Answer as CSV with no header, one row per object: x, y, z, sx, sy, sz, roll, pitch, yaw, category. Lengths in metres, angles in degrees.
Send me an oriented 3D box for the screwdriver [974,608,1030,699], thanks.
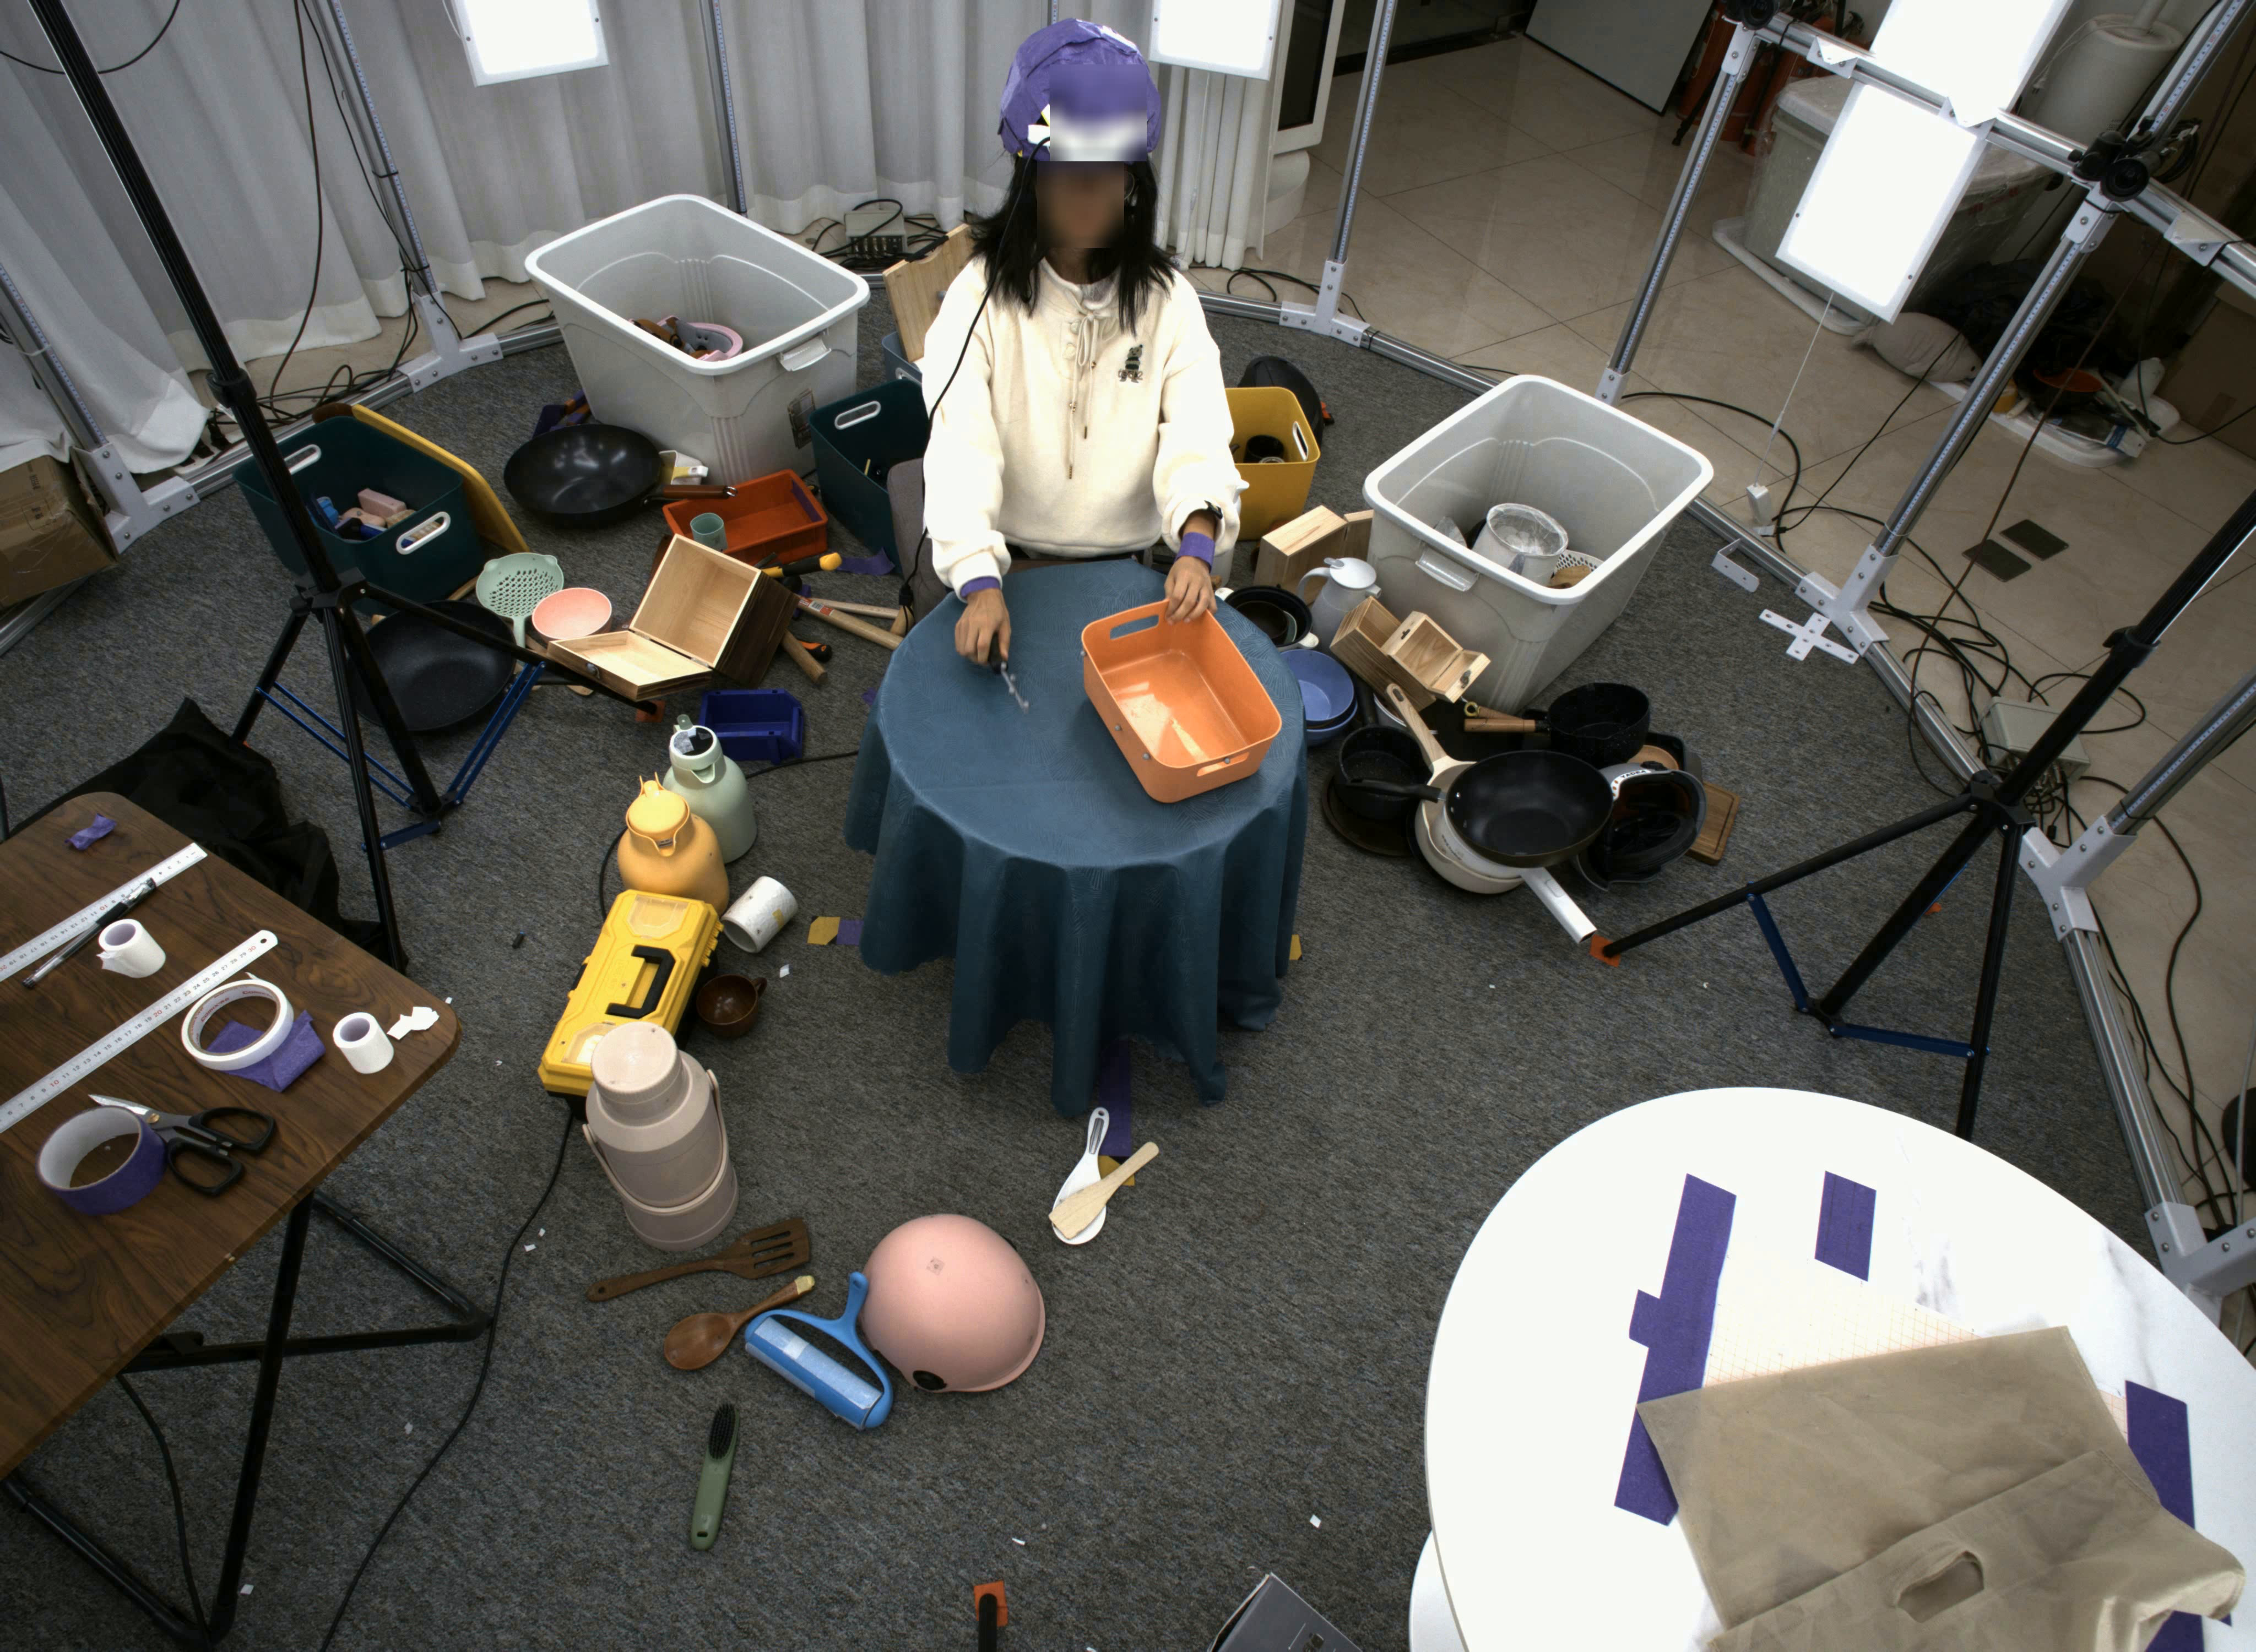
-0.169,-0.237,1.772,0.031,0.031,0.202,-17,51,-19,screwdriver

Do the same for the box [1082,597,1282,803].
0.065,-0.169,1.739,0.200,0.100,0.279,-20,60,-19,box
